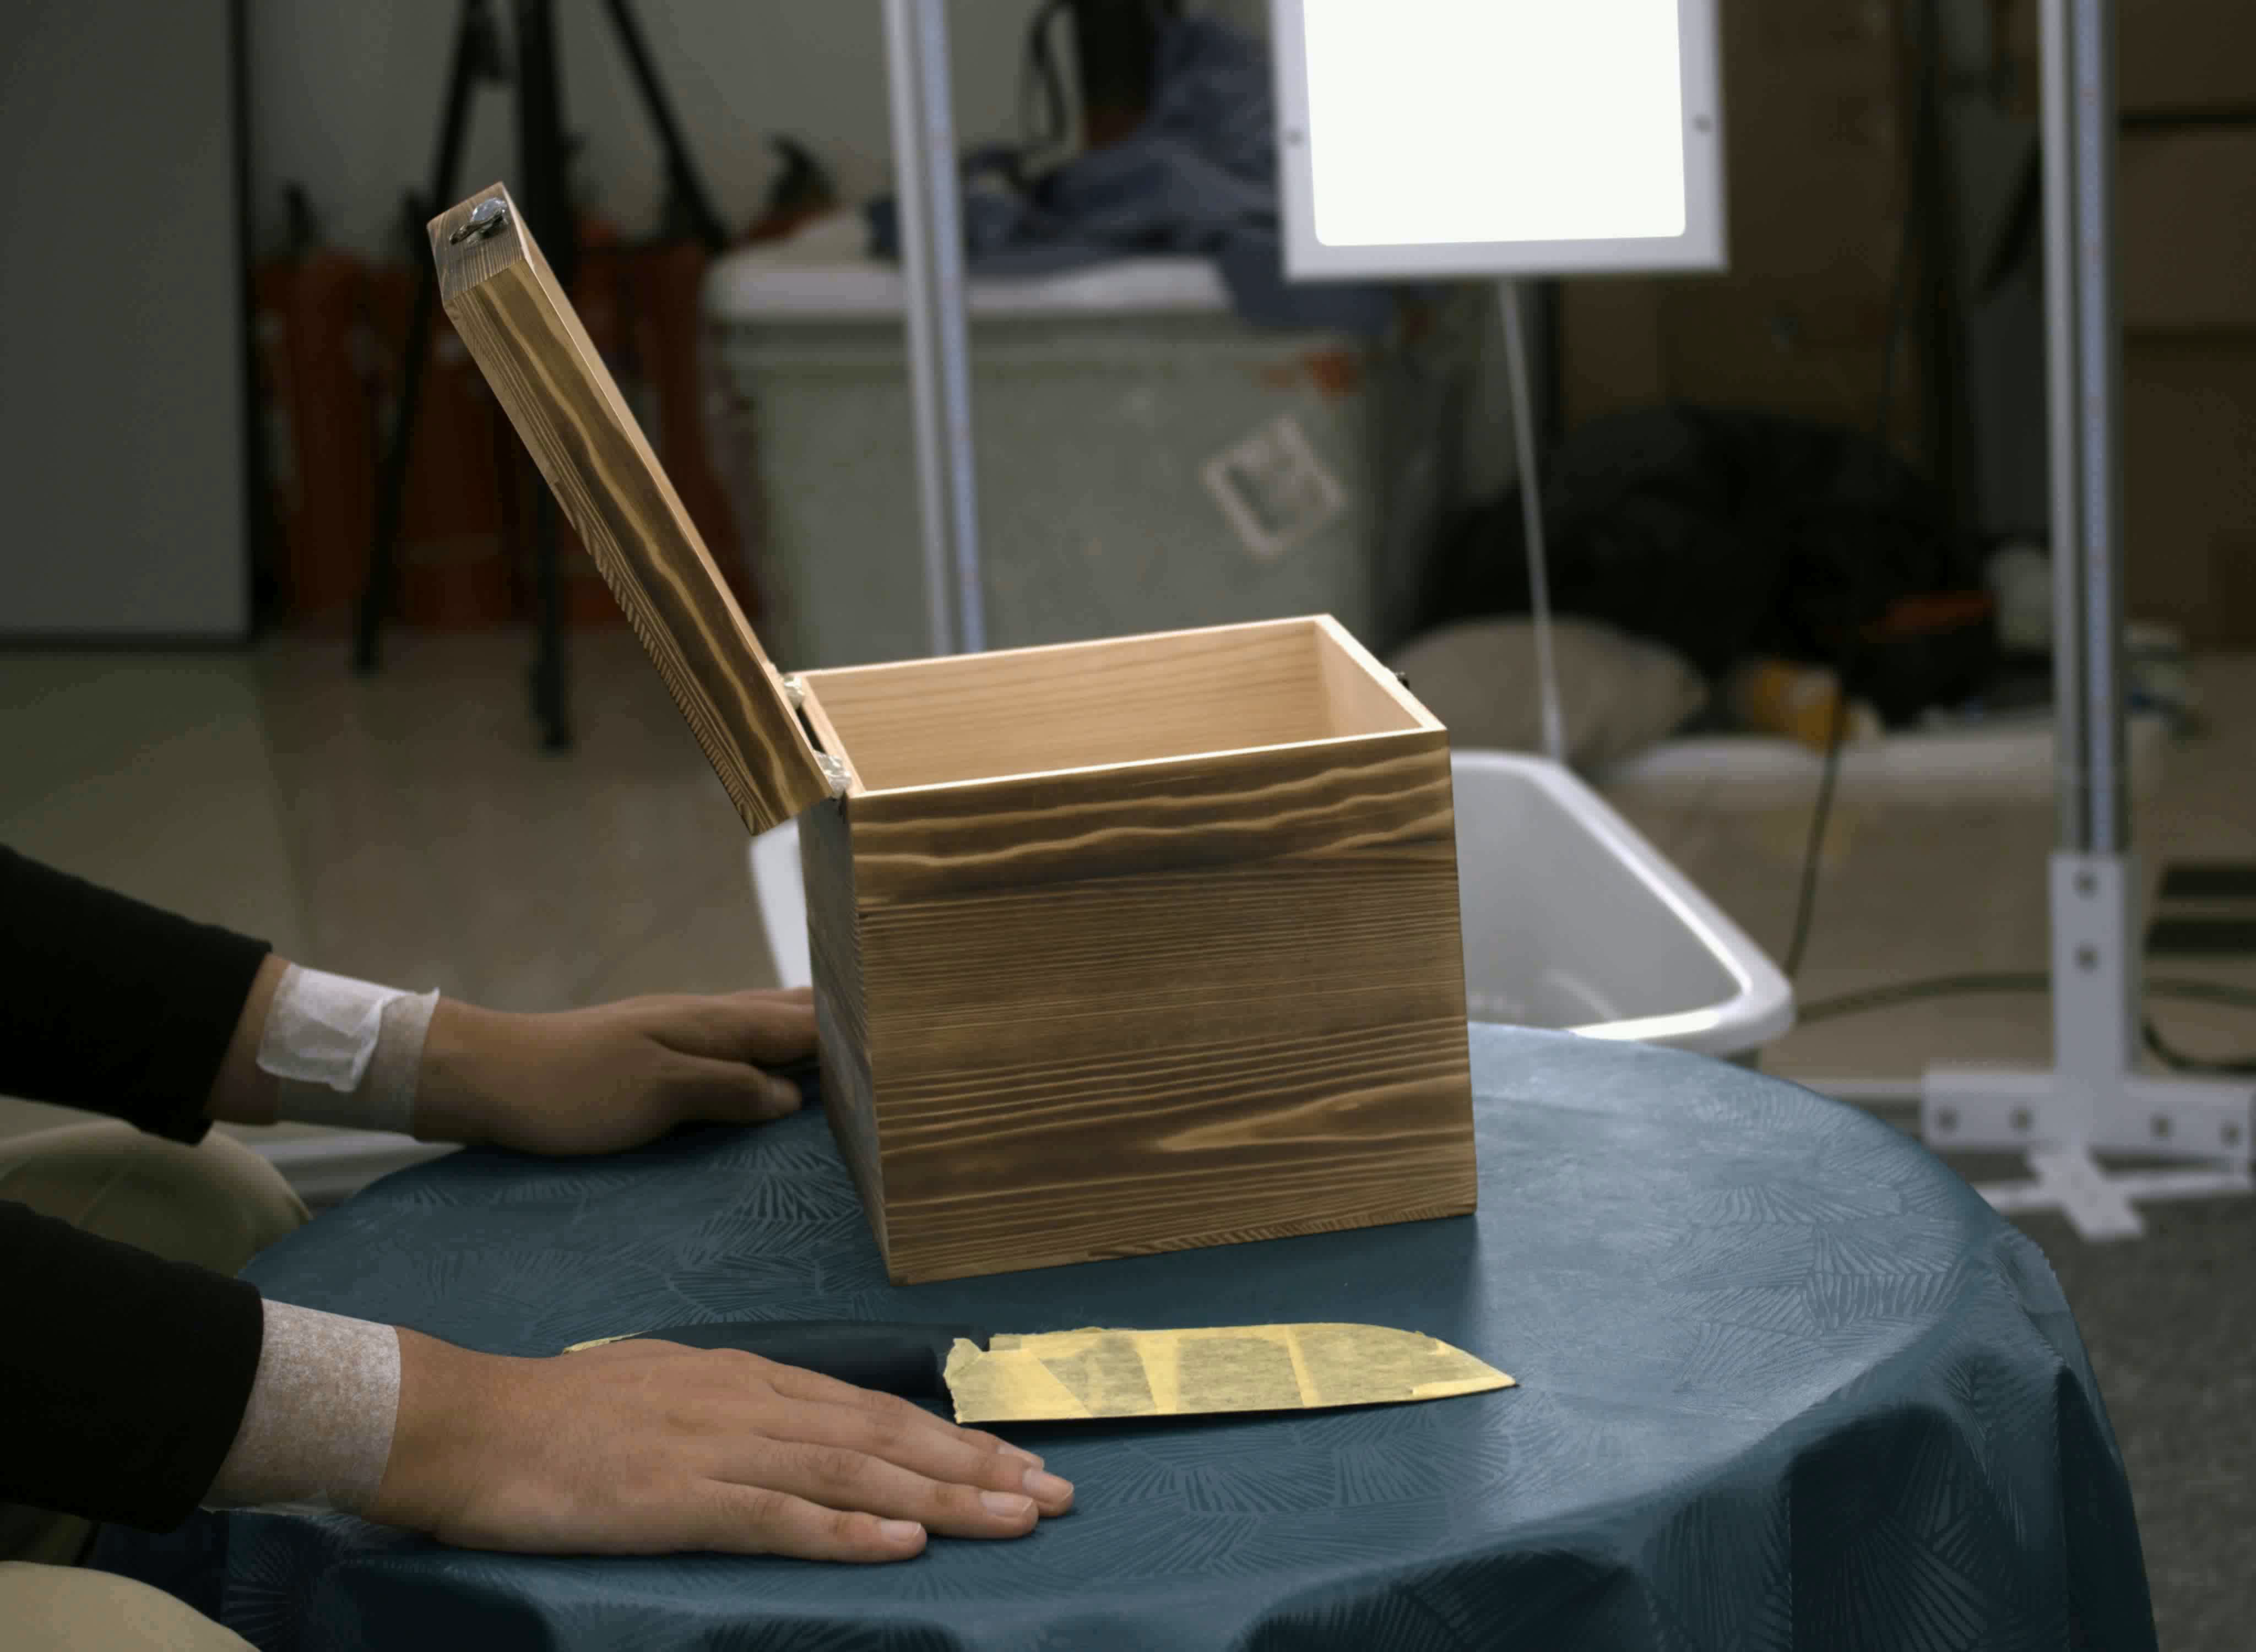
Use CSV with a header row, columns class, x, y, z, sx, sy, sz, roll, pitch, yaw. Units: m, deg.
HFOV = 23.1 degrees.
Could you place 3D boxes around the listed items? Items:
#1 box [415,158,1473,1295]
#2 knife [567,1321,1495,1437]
class,x,y,z,sx,sy,sz,roll,pitch,yaw
box,-0.060,-0.048,1.876,0.319,0.377,0.209,-7,15,-6
knife,-0.030,0.171,1.699,0.289,0.027,0.081,-4,12,3
